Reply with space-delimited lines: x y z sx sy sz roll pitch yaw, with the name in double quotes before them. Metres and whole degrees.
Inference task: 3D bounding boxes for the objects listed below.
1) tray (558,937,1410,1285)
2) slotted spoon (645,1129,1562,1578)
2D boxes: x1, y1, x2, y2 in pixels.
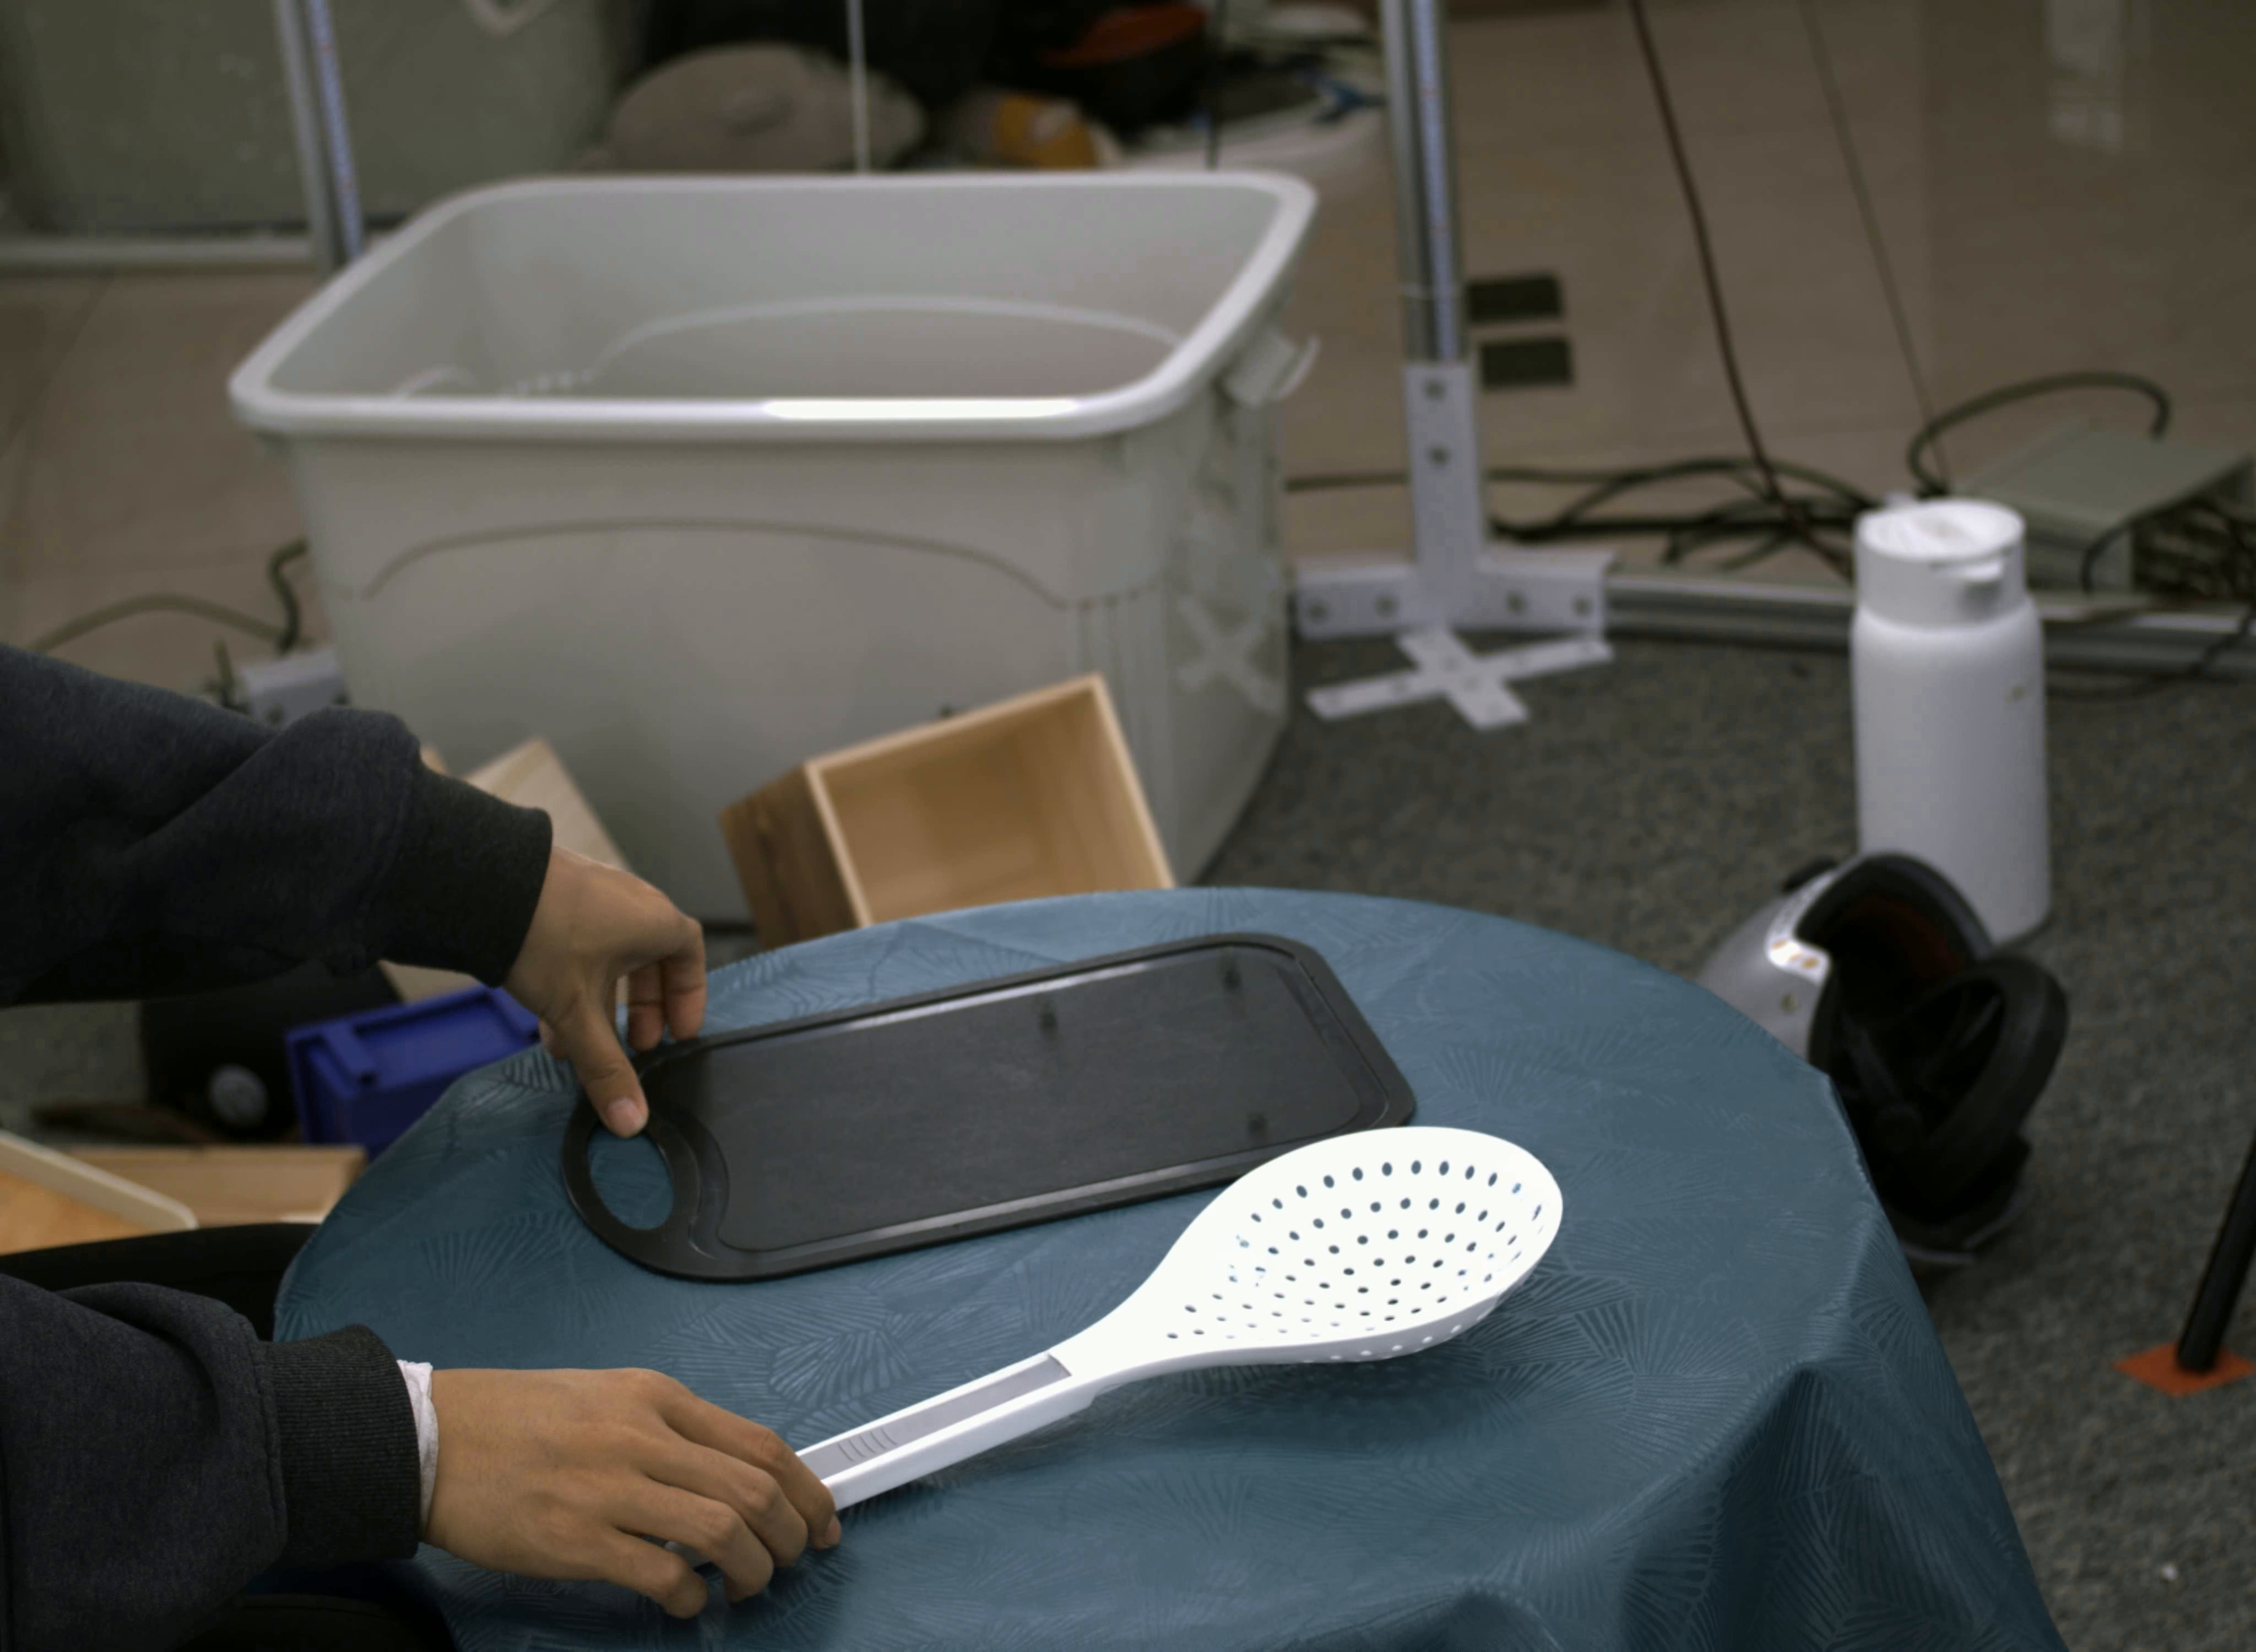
"tray" -0.062 0.109 2.219 0.324 0.010 0.208 -11 25 -10
"slotted spoon" -0.007 0.187 1.989 0.348 0.046 0.134 -17 26 -20
